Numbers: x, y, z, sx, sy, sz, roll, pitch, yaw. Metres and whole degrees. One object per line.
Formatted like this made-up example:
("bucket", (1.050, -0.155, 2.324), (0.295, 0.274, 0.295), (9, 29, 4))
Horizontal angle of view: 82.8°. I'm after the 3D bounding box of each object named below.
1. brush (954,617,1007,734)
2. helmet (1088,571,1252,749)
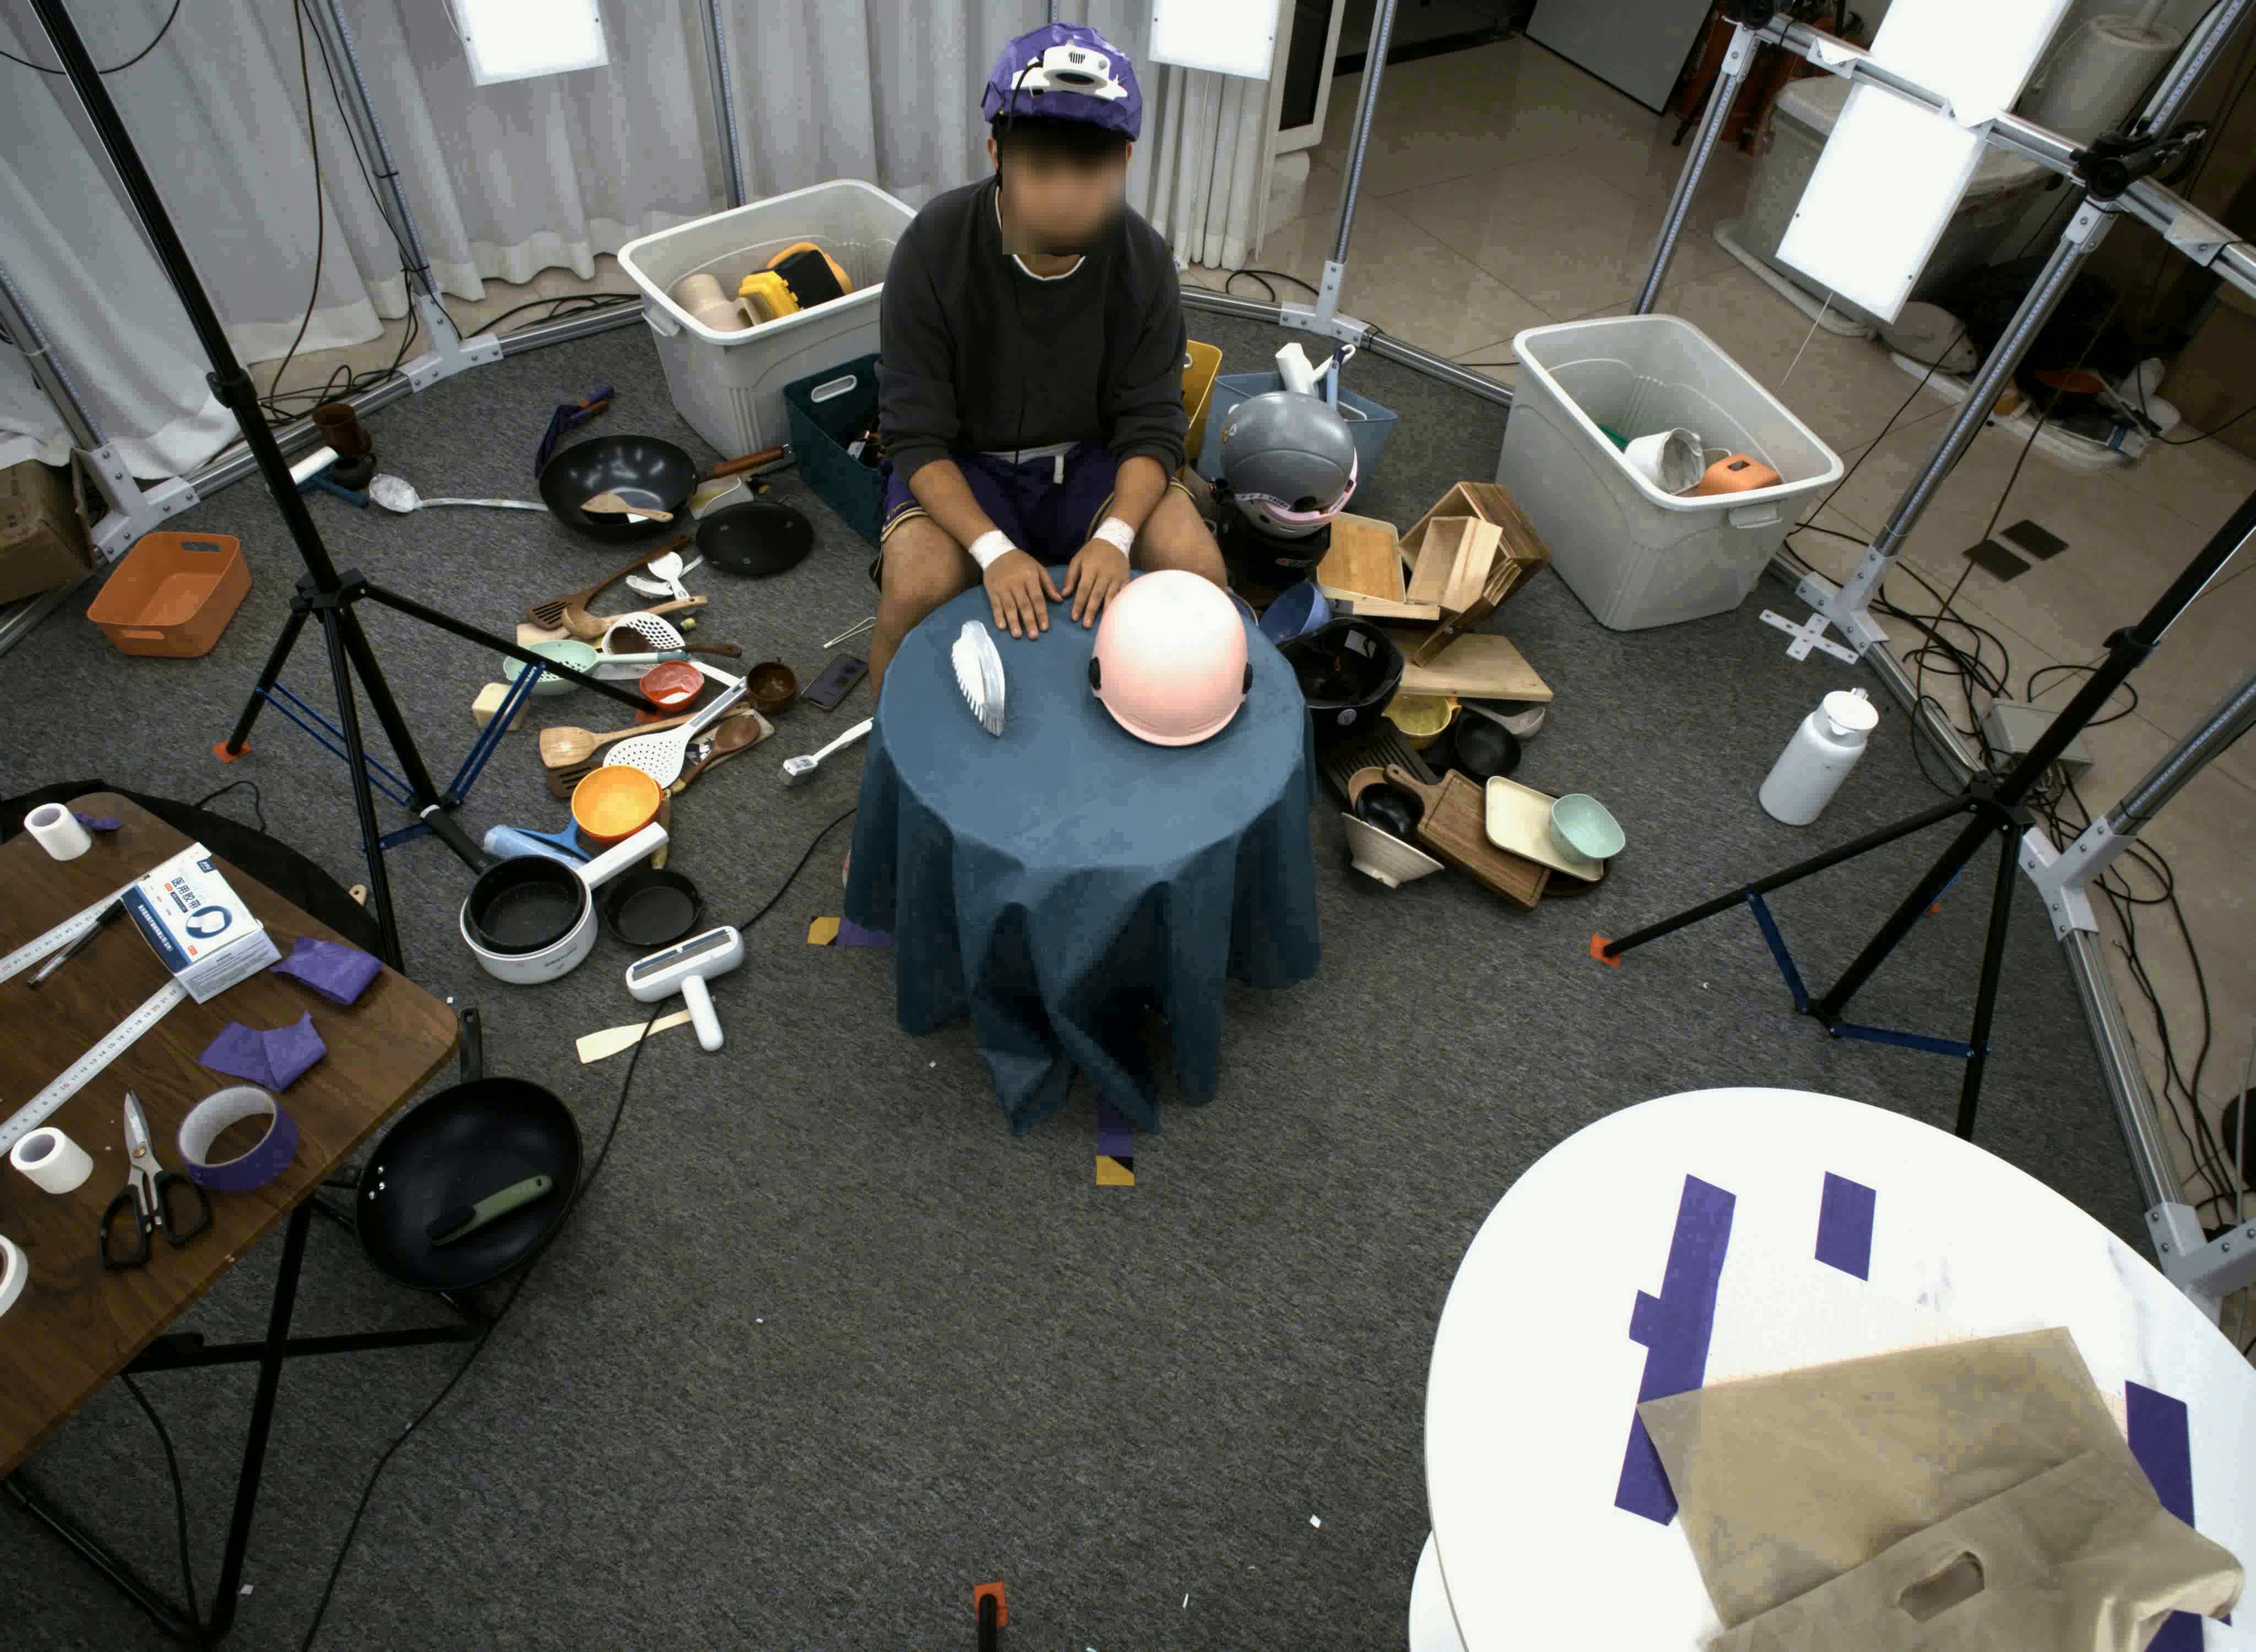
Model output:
("brush", (-0.199, -0.218, 1.783), (0.061, 0.092, 0.180), (-11, 53, -13))
("helmet", (0.063, -0.253, 1.793), (0.234, 0.155, 0.272), (1, 53, -4))
